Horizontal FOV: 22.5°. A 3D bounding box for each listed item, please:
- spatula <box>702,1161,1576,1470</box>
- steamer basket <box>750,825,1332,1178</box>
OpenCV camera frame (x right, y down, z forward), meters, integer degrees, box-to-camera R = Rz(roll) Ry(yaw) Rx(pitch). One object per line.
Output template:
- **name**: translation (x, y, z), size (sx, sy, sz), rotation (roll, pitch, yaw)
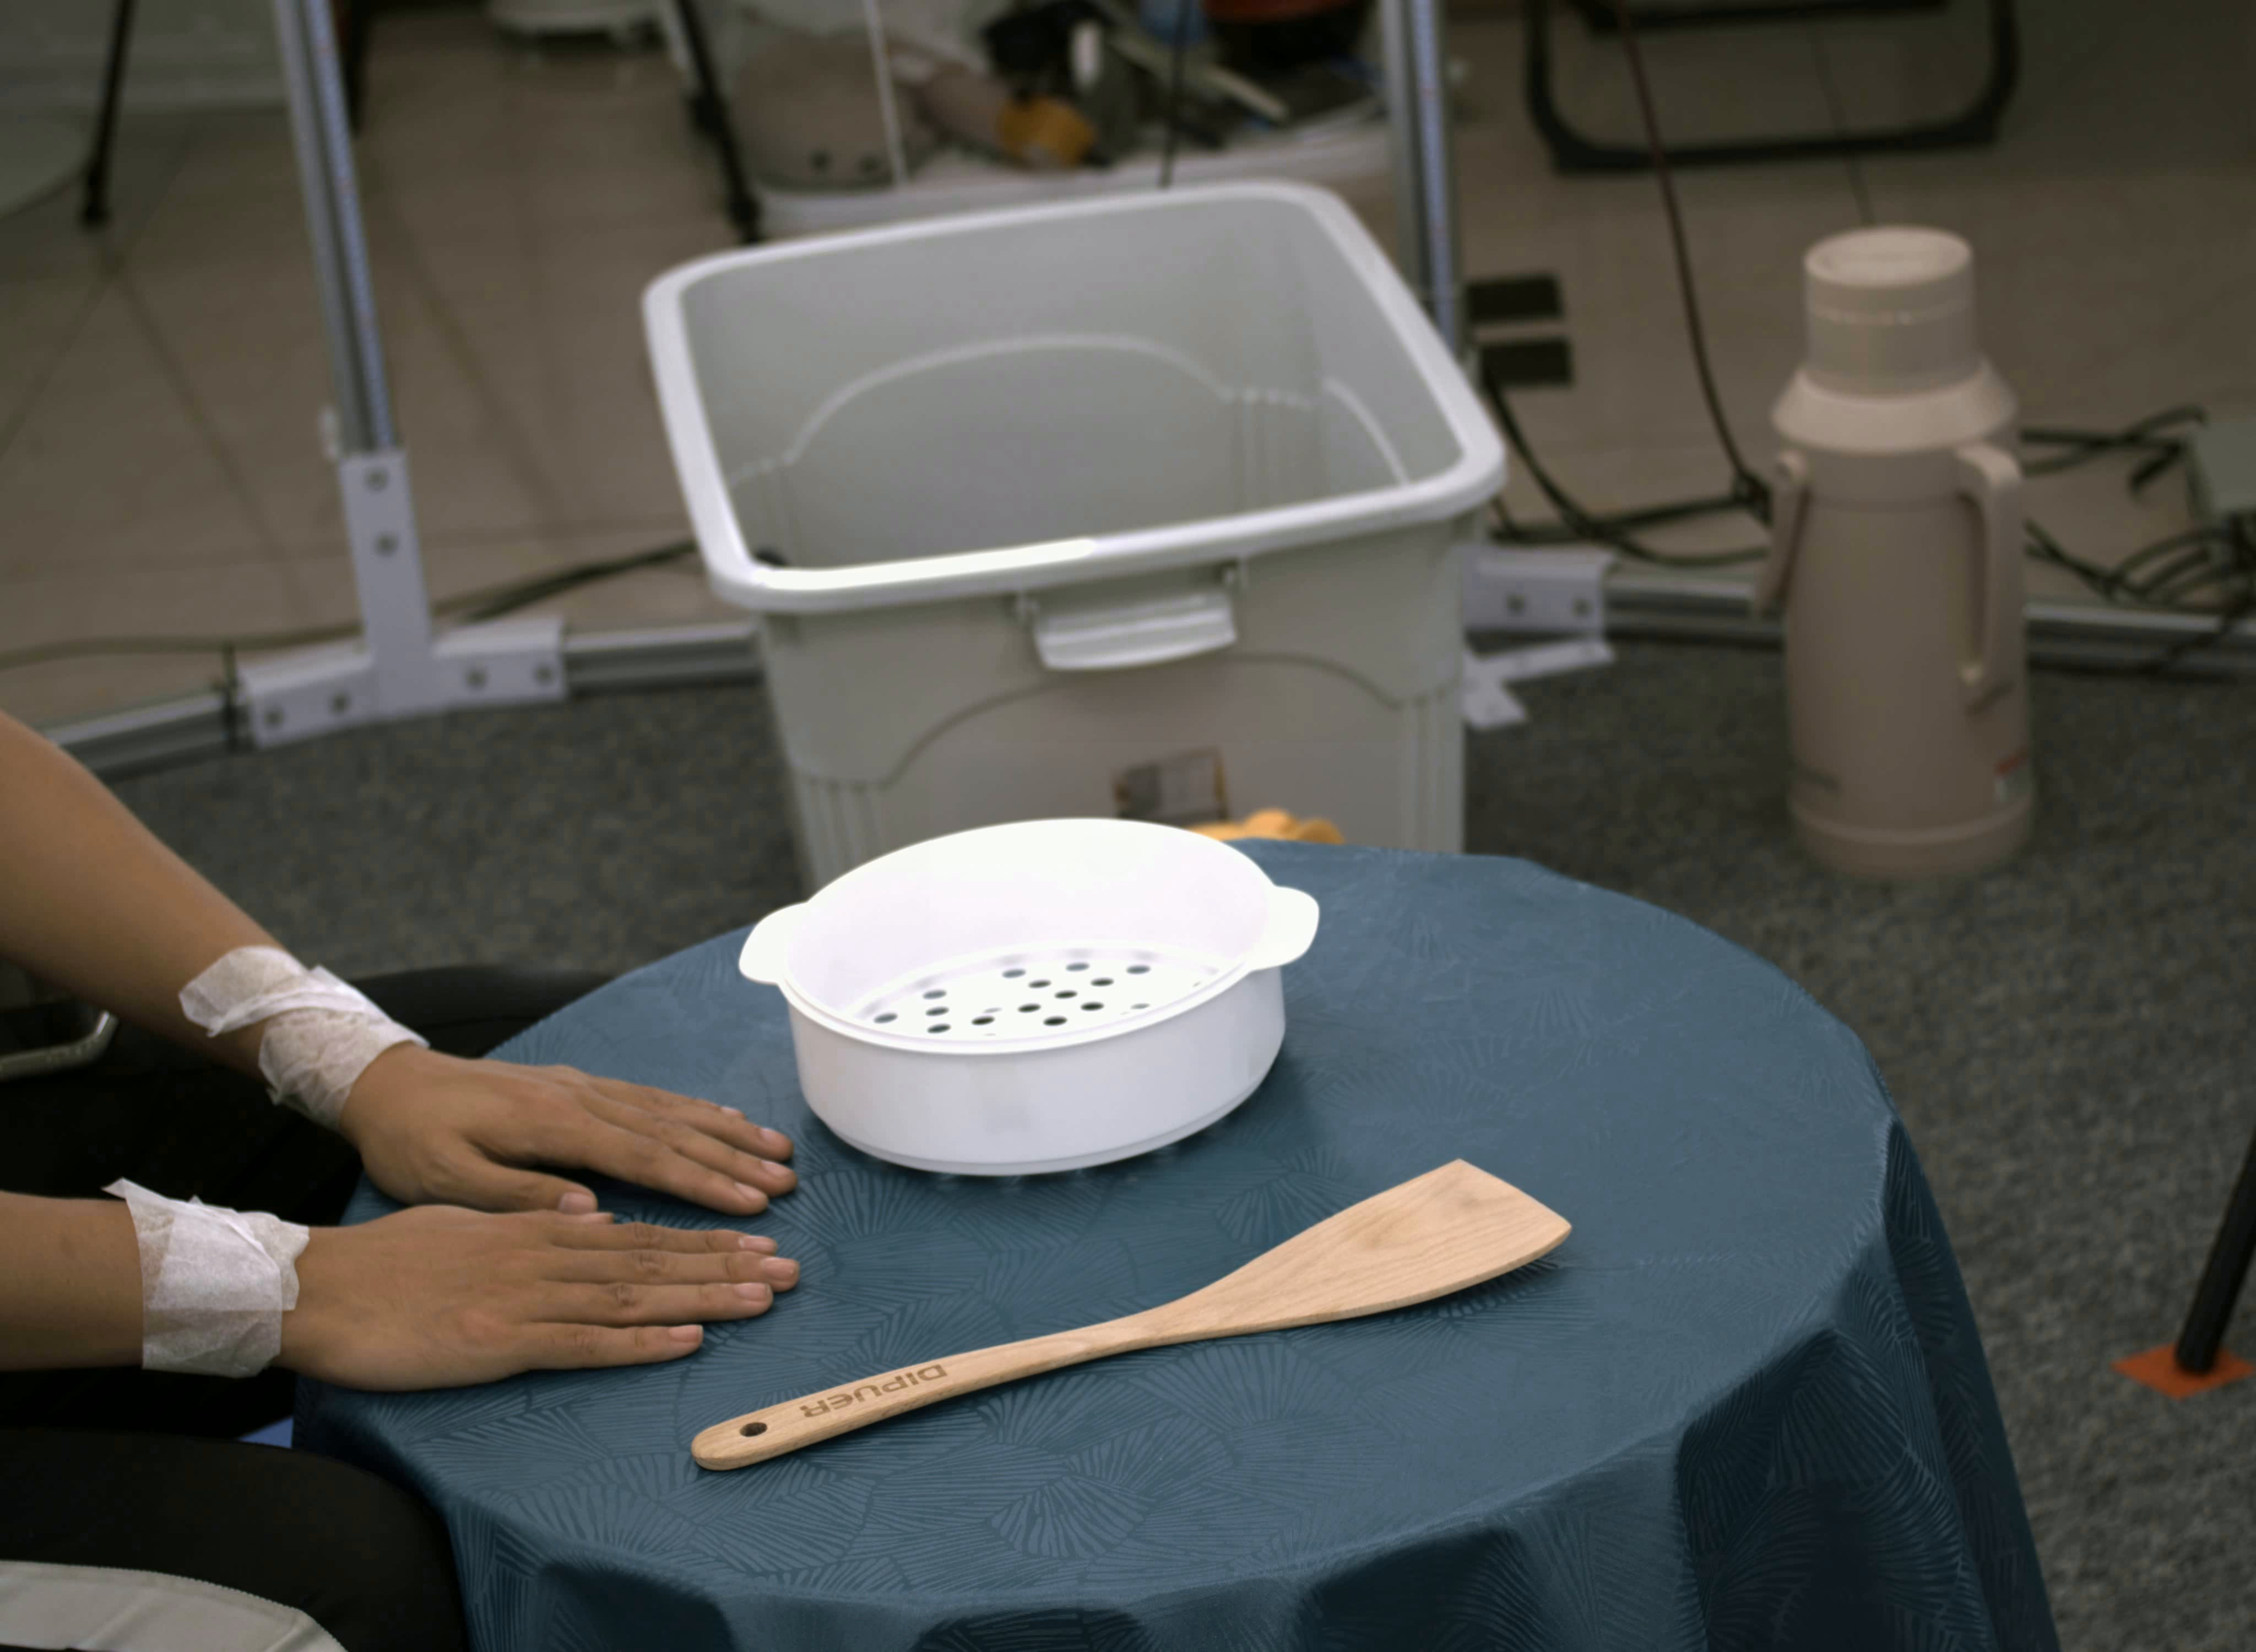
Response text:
- **spatula**: translation (0.001, 0.178, 2.046), size (0.326, 0.017, 0.079), rotation (-15, 25, -16)
- **steamer basket**: translation (-0.031, 0.069, 2.231), size (0.230, 0.070, 0.199), rotation (-2, 24, 11)
